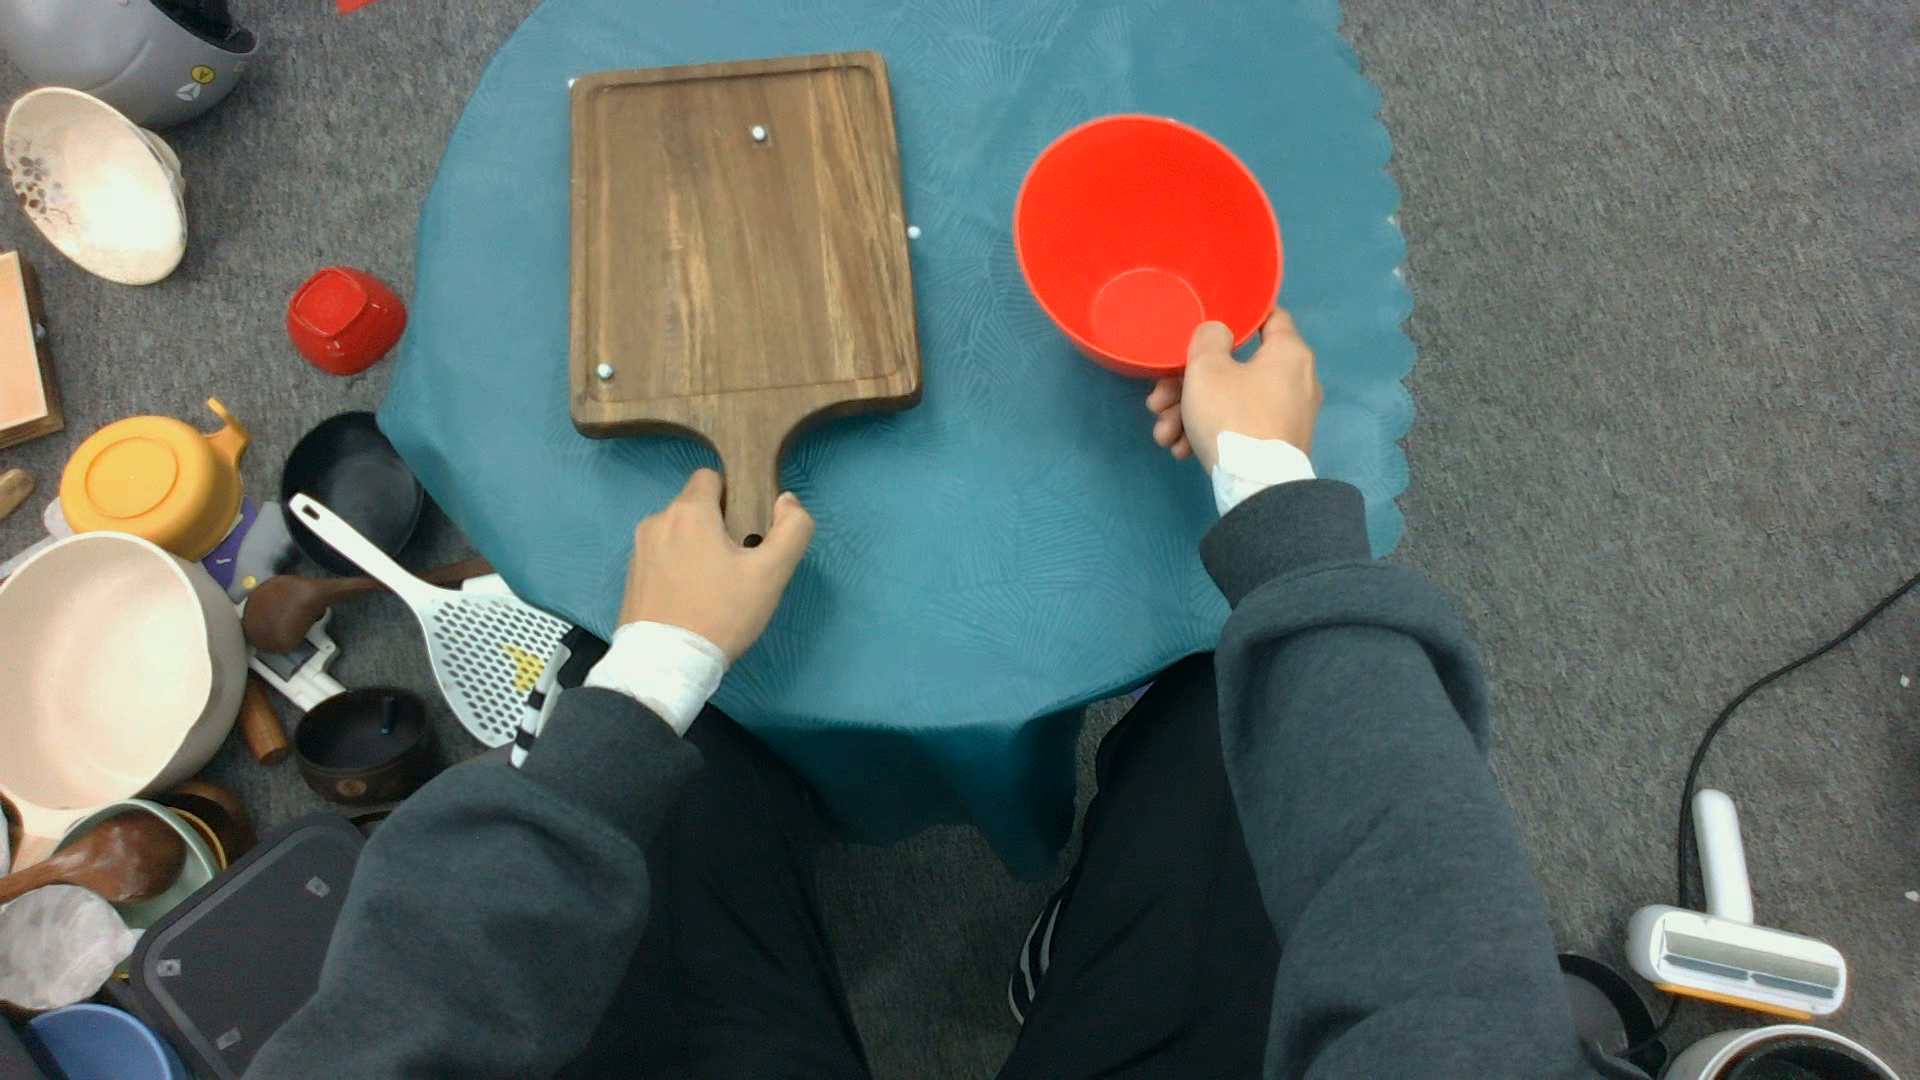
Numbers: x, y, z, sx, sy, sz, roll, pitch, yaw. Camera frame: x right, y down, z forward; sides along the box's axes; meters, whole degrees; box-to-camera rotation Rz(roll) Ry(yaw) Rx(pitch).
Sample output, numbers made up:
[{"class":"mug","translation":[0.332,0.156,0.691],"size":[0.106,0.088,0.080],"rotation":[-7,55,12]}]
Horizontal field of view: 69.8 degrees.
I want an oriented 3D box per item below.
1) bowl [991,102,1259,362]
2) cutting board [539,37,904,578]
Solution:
[{"class":"bowl","translation":[0.090,-0.159,0.779],"size":[0.148,0.104,0.148],"rotation":[0,71,-1]},{"class":"cutting board","translation":[-0.139,-0.143,0.792],"size":[0.201,0.023,0.353],"rotation":[-6,66,-3]}]
